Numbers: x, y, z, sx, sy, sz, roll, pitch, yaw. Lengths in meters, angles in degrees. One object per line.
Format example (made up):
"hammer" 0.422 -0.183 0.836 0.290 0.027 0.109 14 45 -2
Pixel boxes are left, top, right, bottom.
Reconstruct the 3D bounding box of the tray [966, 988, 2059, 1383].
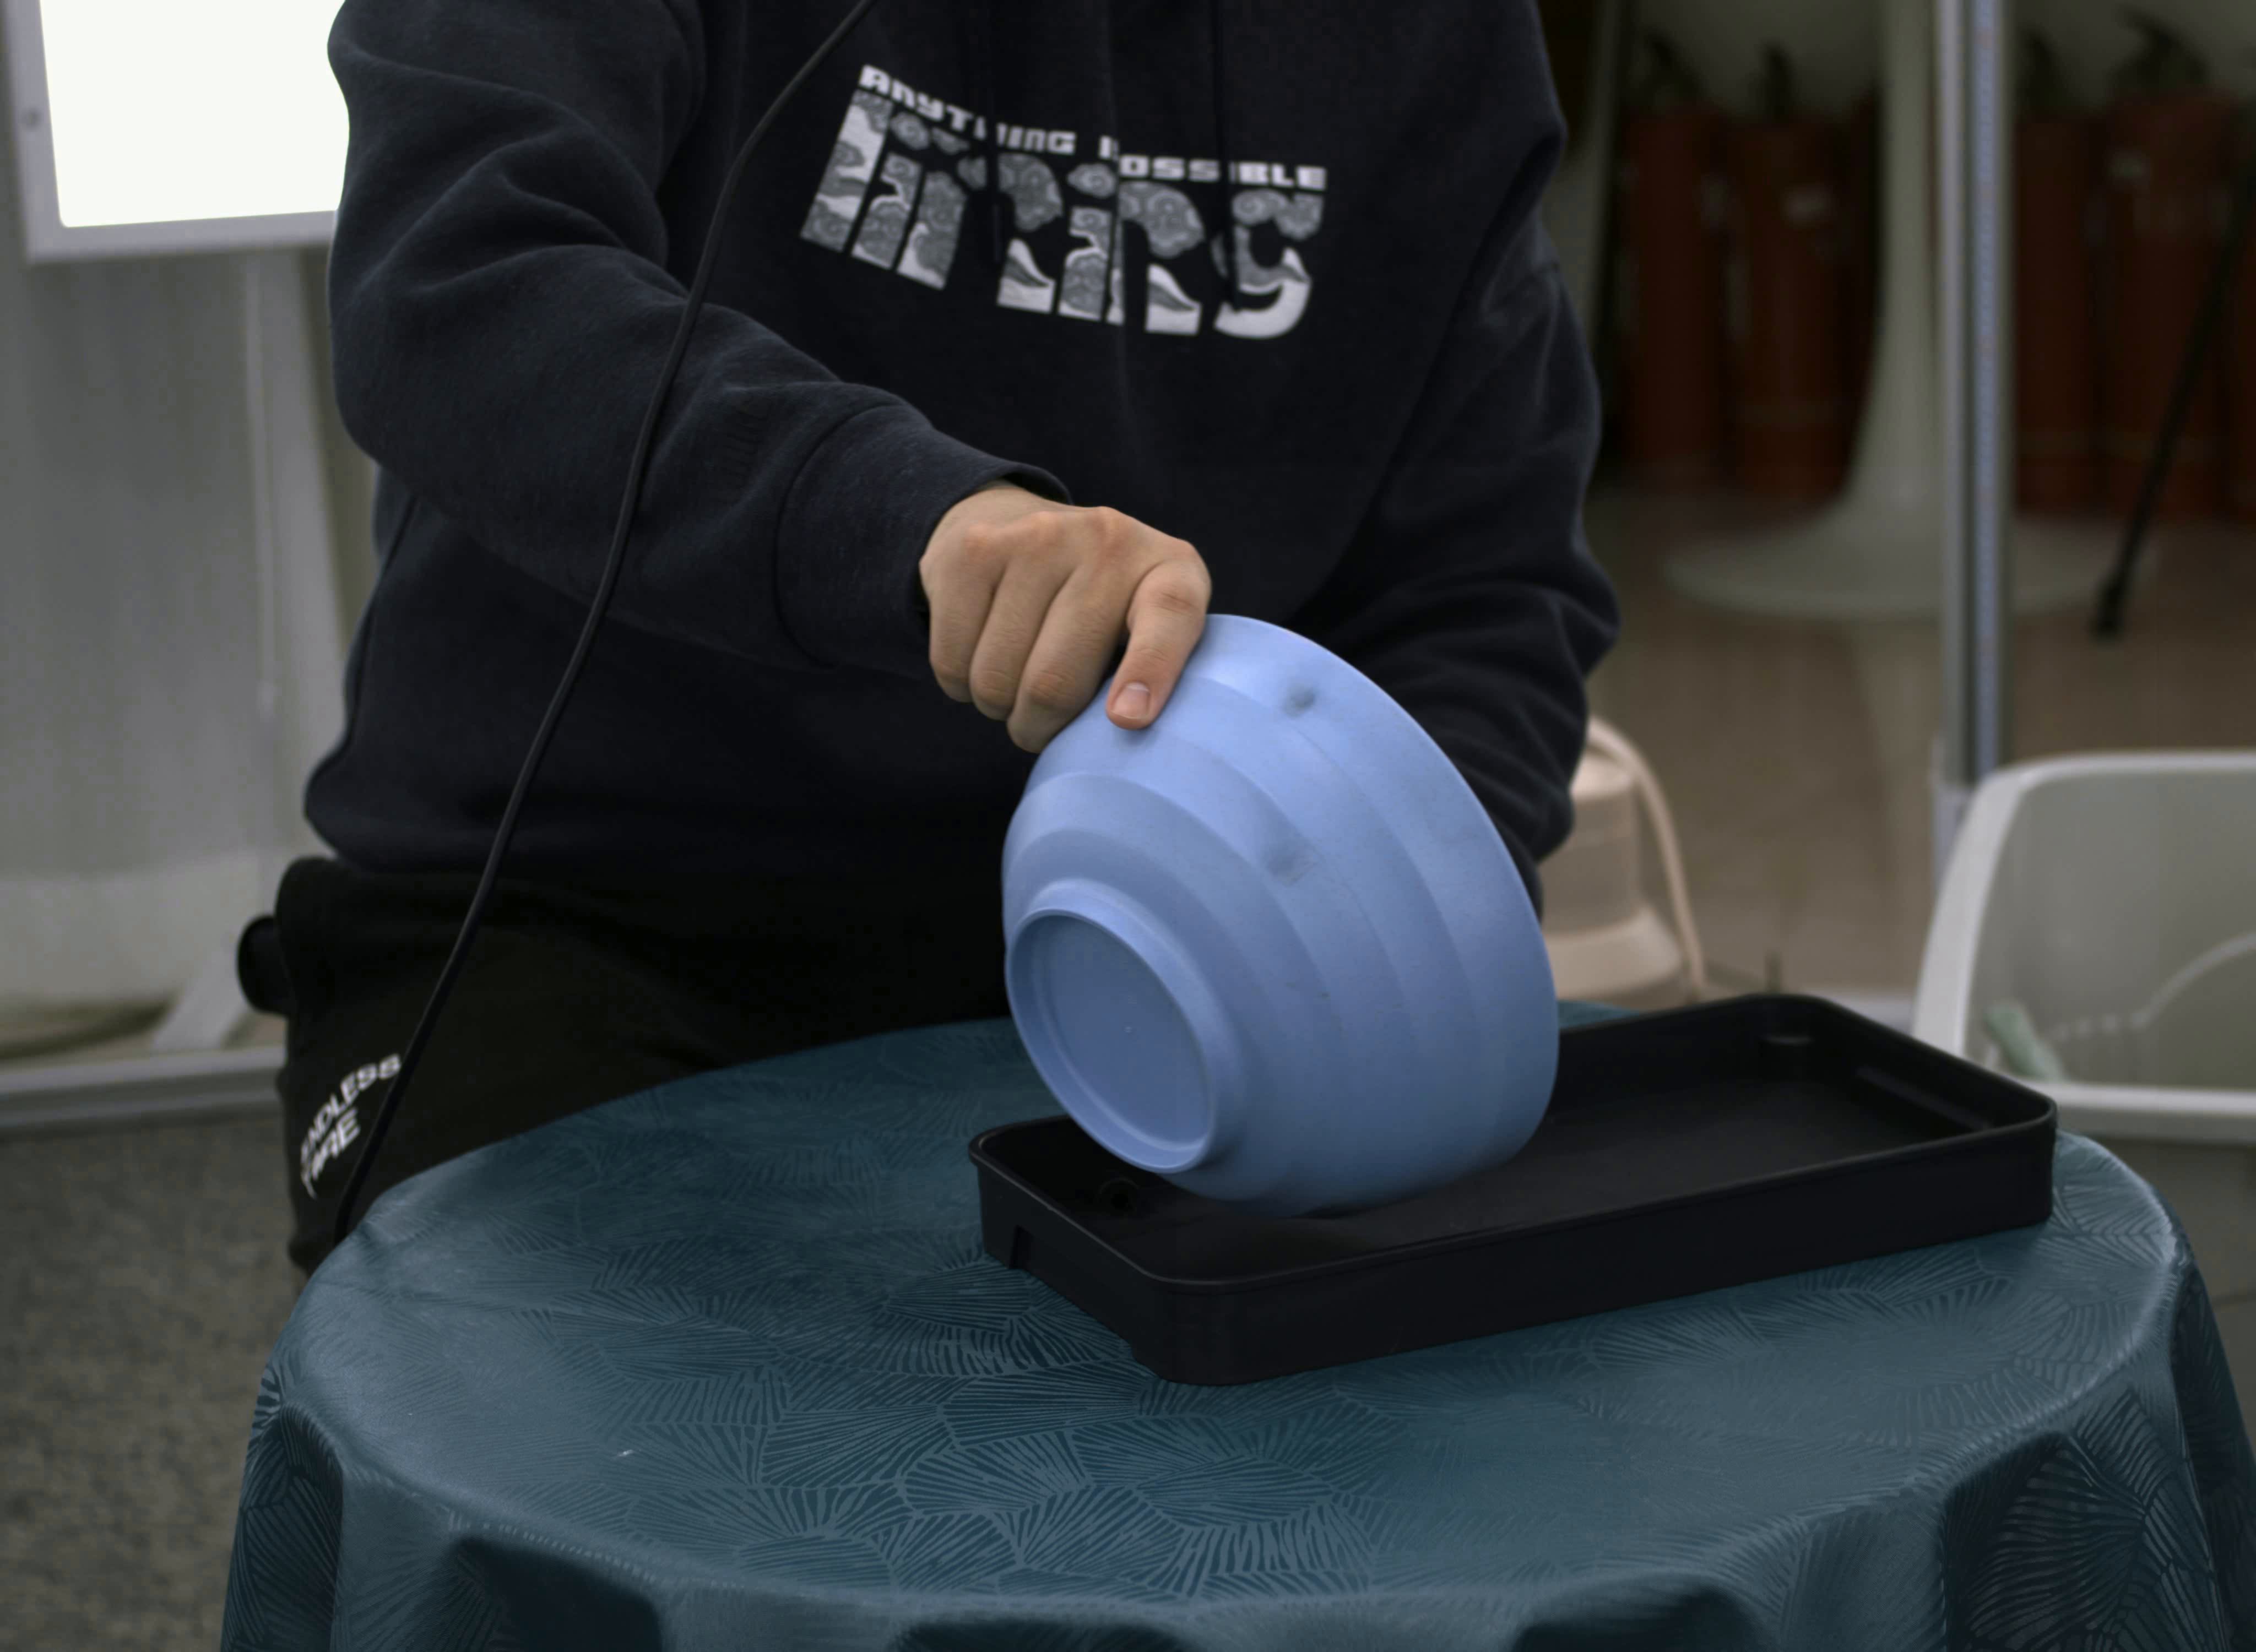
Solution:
"tray" 0.121 0.109 1.707 0.311 0.037 0.186 -9 14 -21

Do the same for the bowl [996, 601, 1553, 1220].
"bowl" 0.026 0.041 1.624 0.094 0.197 0.198 -32 27 -31
